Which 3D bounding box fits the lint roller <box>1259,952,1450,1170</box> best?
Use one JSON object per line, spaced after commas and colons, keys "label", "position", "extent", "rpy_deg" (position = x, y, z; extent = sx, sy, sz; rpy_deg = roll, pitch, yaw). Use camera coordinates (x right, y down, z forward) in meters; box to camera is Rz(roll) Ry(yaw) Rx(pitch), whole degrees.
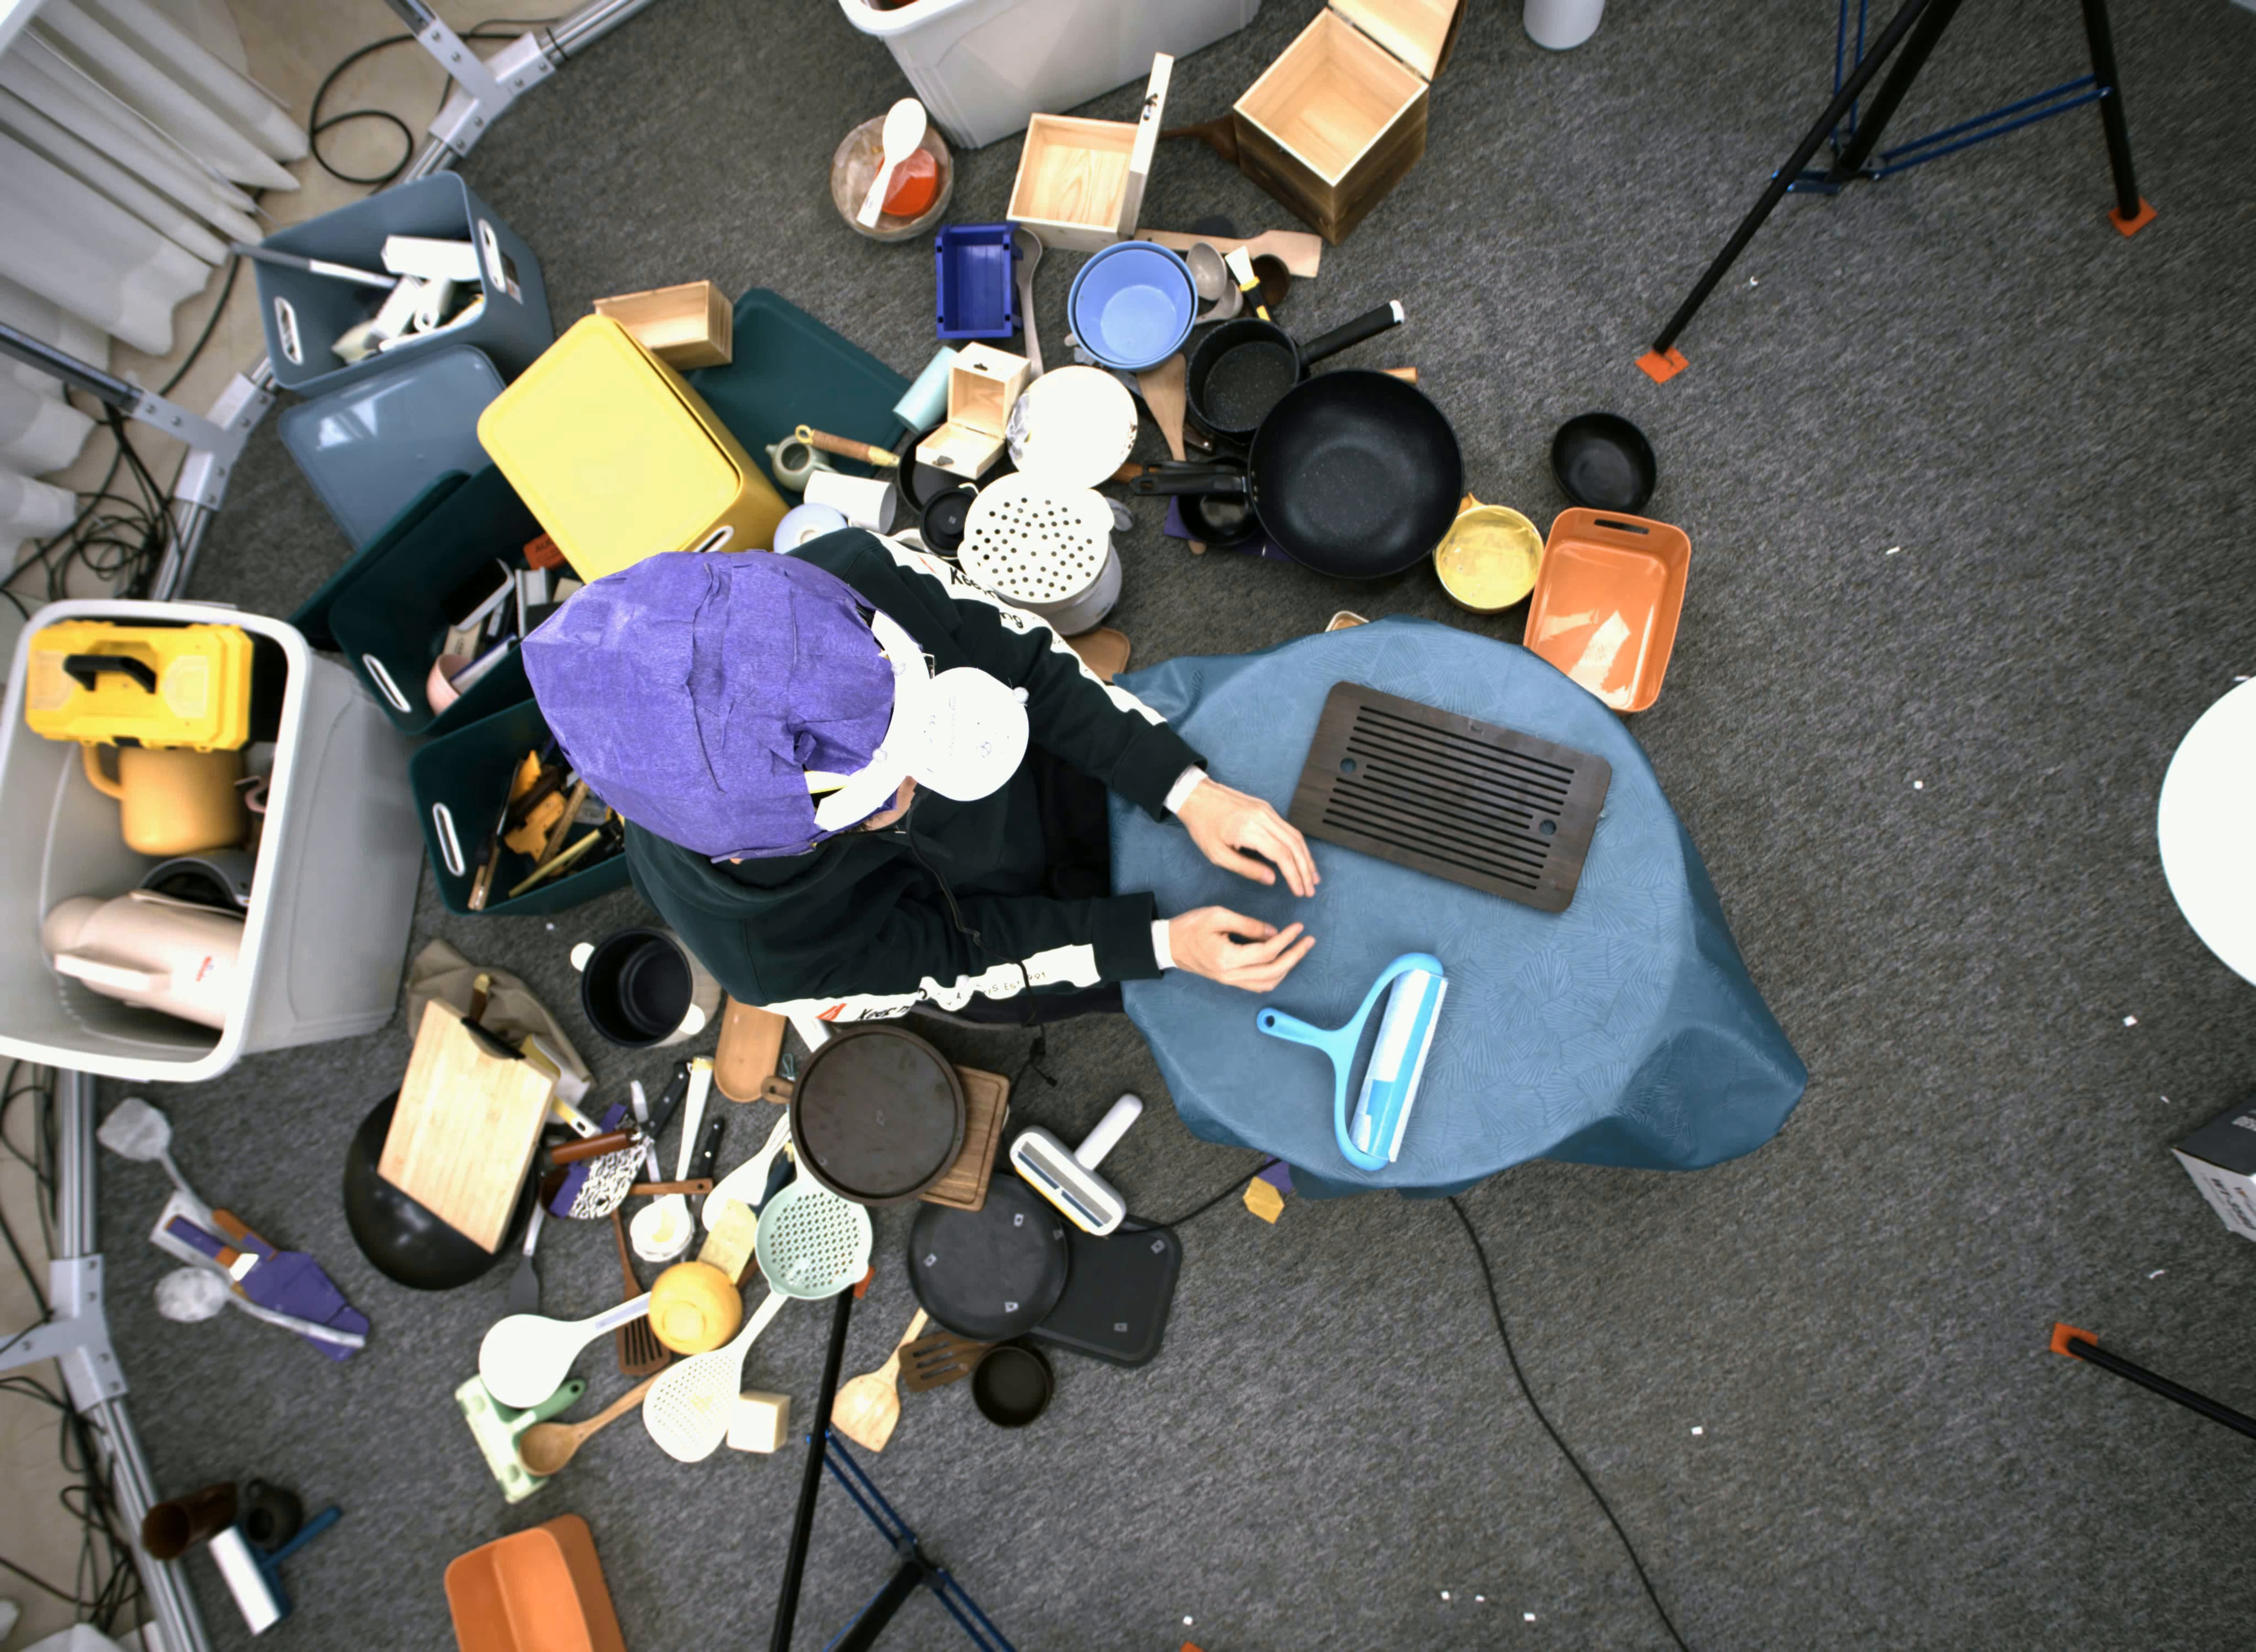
{"label": "lint roller", "position": [0.221, 0.225, 1.427], "extent": [0.180, 0.068, 0.229], "rpy_deg": [14, 91, 9]}

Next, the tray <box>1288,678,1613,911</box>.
{"label": "tray", "position": [0.335, -0.036, 1.440], "extent": [0.306, 0.018, 0.170], "rpy_deg": [18, 91, 11]}
